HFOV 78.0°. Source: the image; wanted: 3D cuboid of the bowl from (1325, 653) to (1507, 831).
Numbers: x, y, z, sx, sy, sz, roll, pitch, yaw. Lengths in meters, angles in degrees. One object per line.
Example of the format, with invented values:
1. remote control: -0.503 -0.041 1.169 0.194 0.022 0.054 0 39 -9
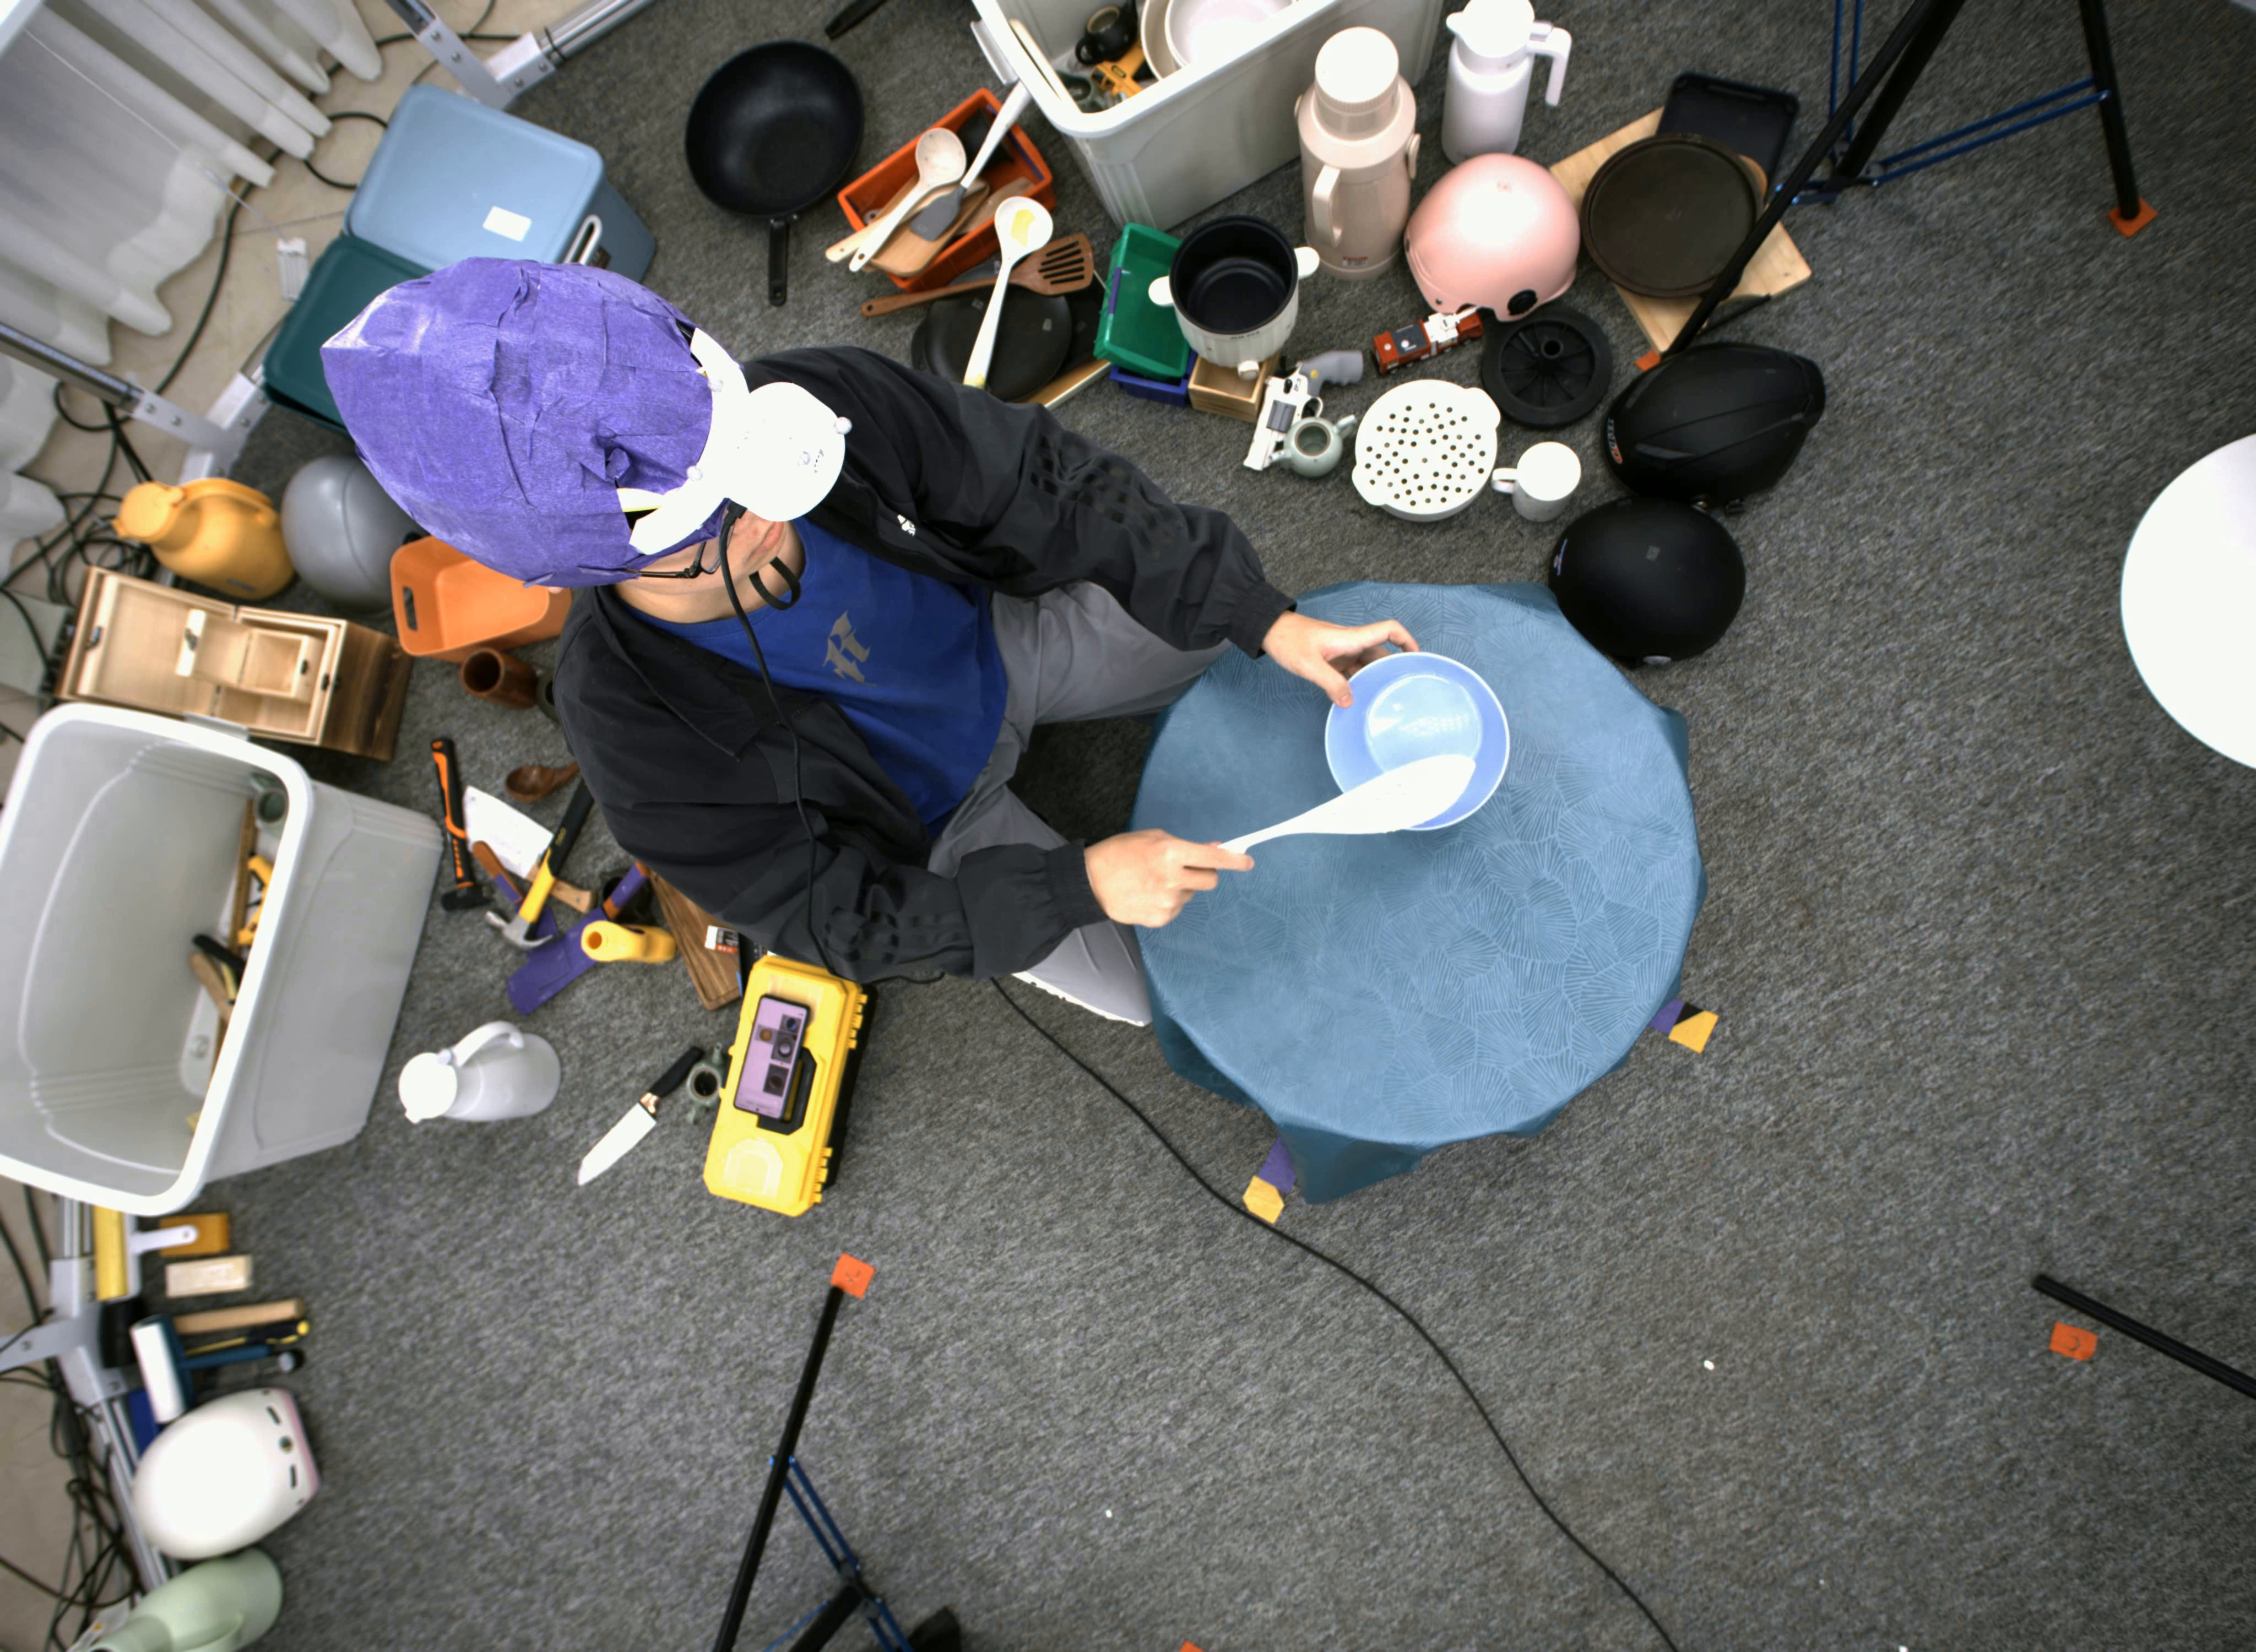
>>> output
1. bowl: 0.286 -0.089 1.349 0.177 0.069 0.179 6 110 19

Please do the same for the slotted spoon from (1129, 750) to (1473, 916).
1. slotted spoon: 0.157 0.009 1.283 0.351 0.136 0.050 -19 79 17
